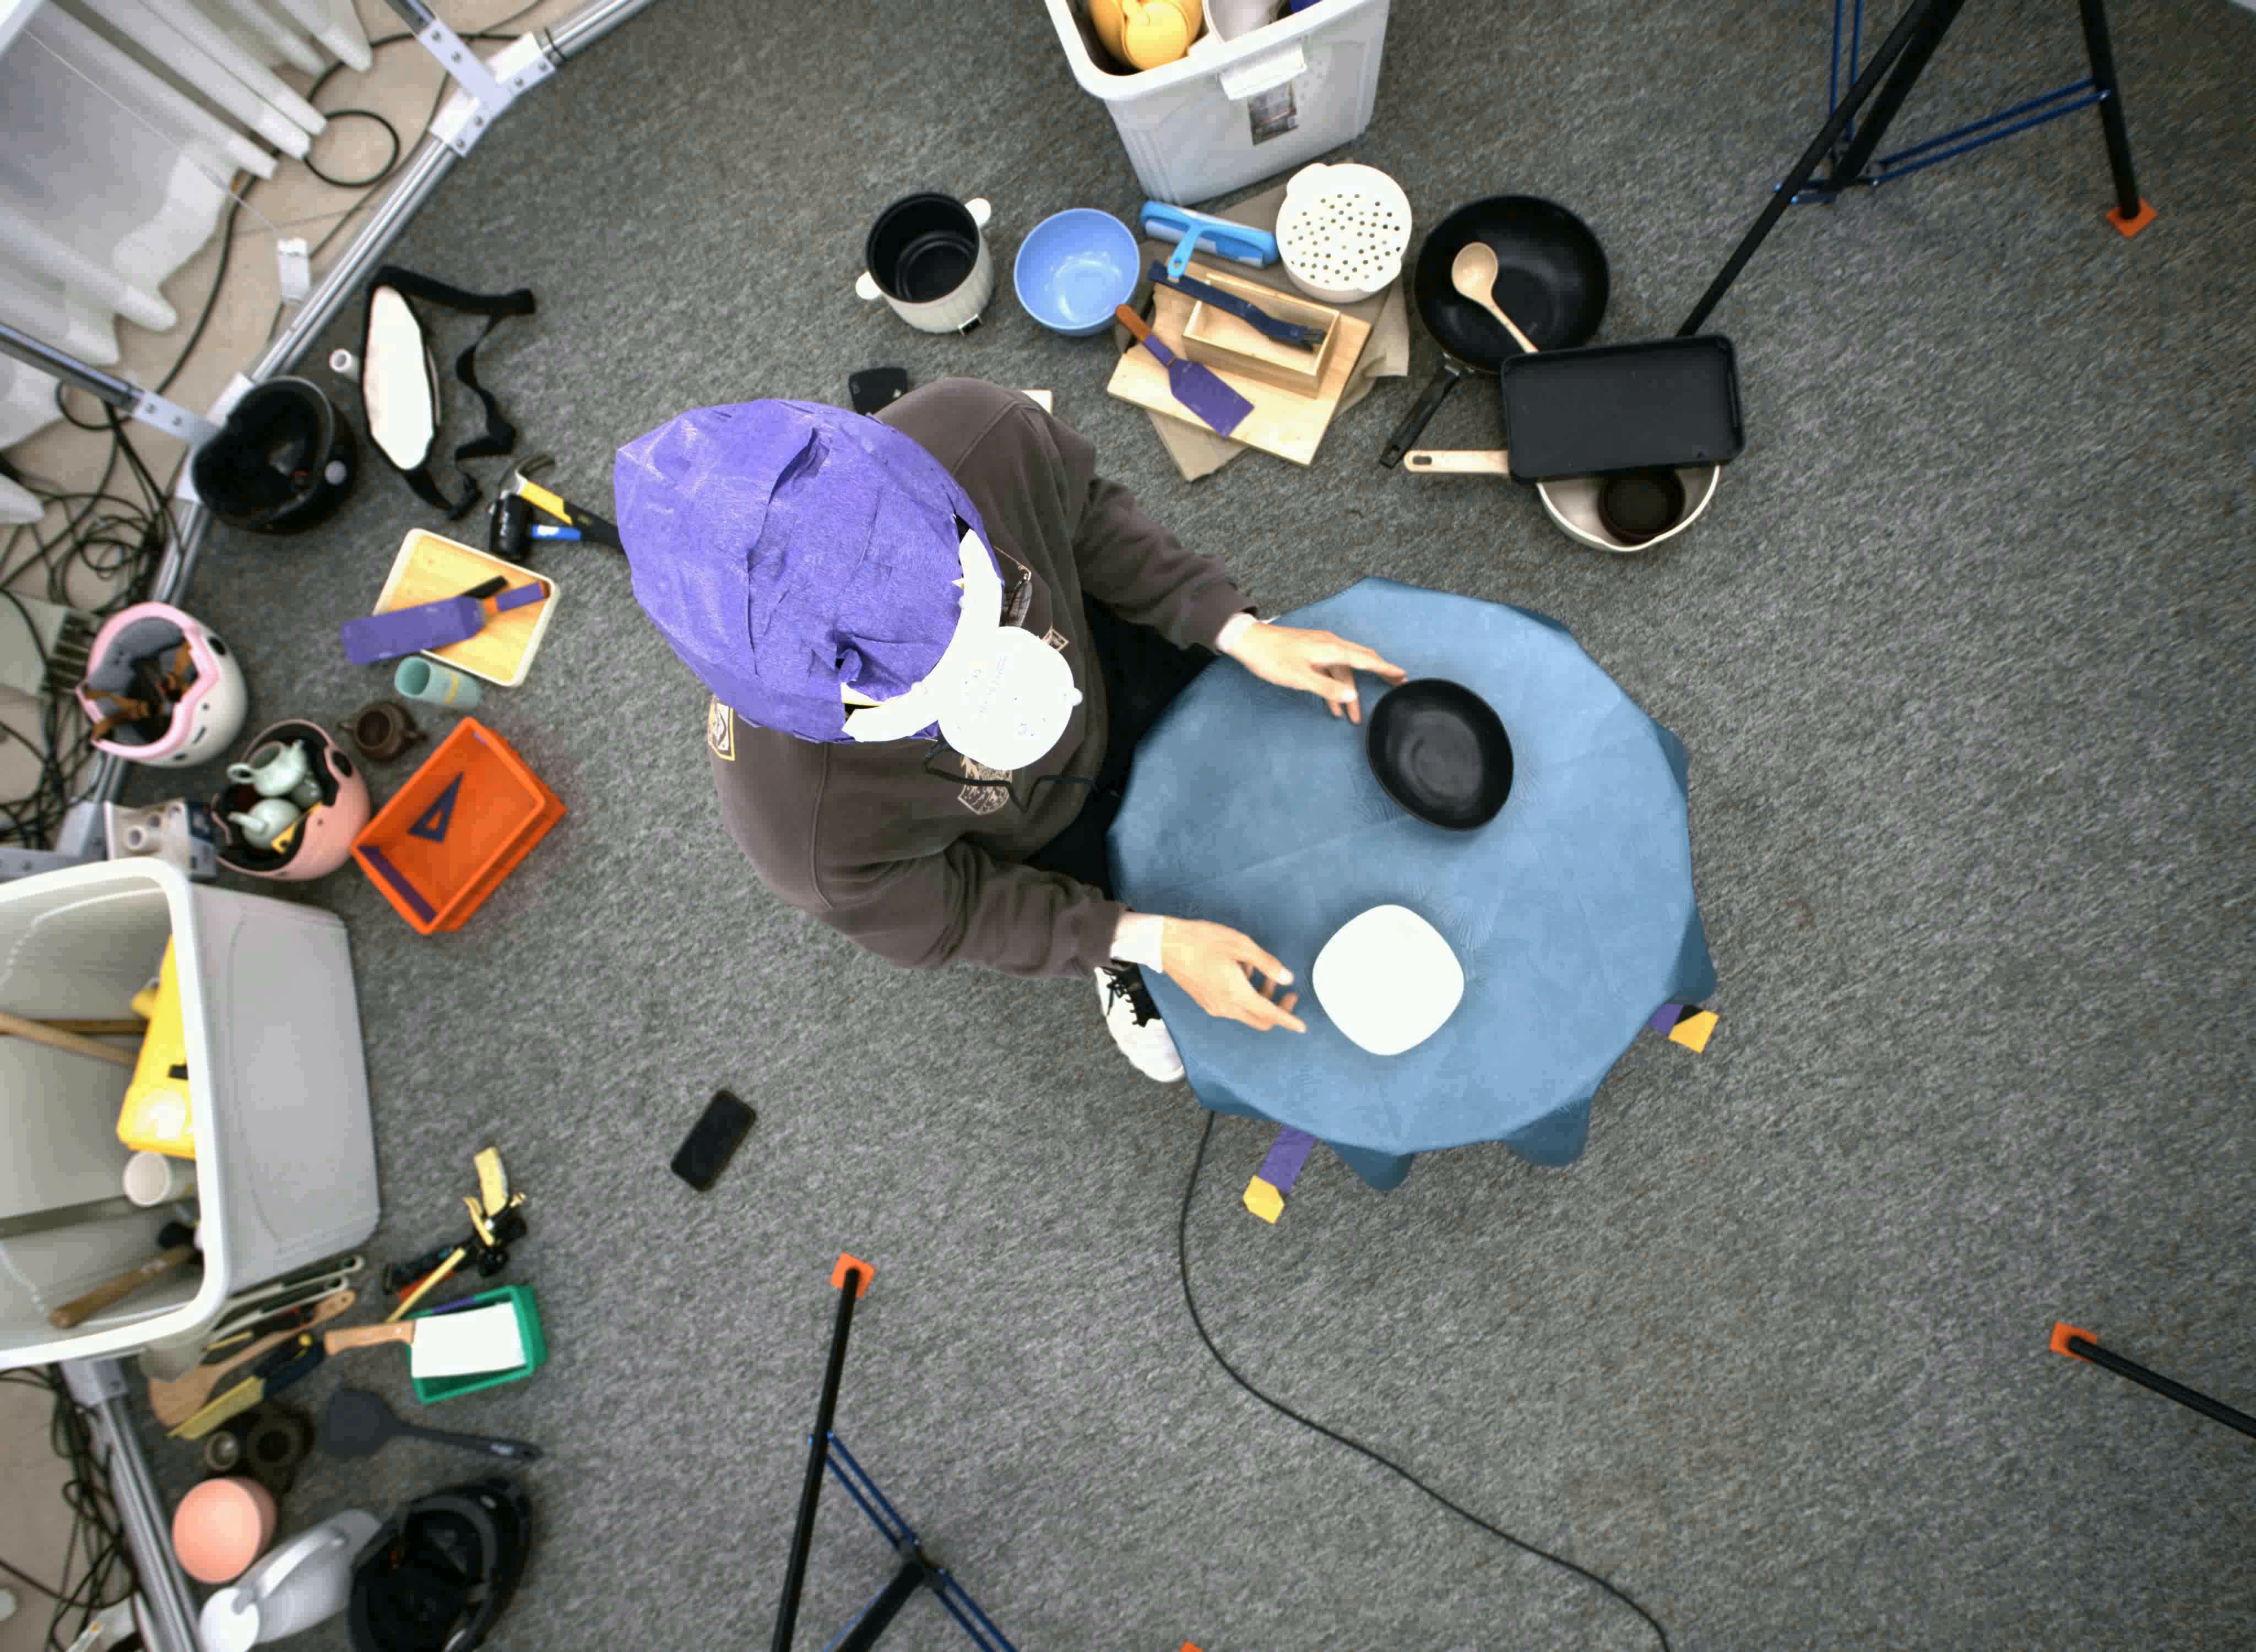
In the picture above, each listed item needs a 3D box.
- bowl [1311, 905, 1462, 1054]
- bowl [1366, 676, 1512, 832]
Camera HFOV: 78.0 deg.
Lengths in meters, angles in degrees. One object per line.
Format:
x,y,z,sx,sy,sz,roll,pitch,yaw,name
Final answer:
0.265,0.156,1.425,0.152,0.059,0.151,-1,86,8,bowl
0.322,-0.074,1.423,0.138,0.066,0.169,-37,83,7,bowl
